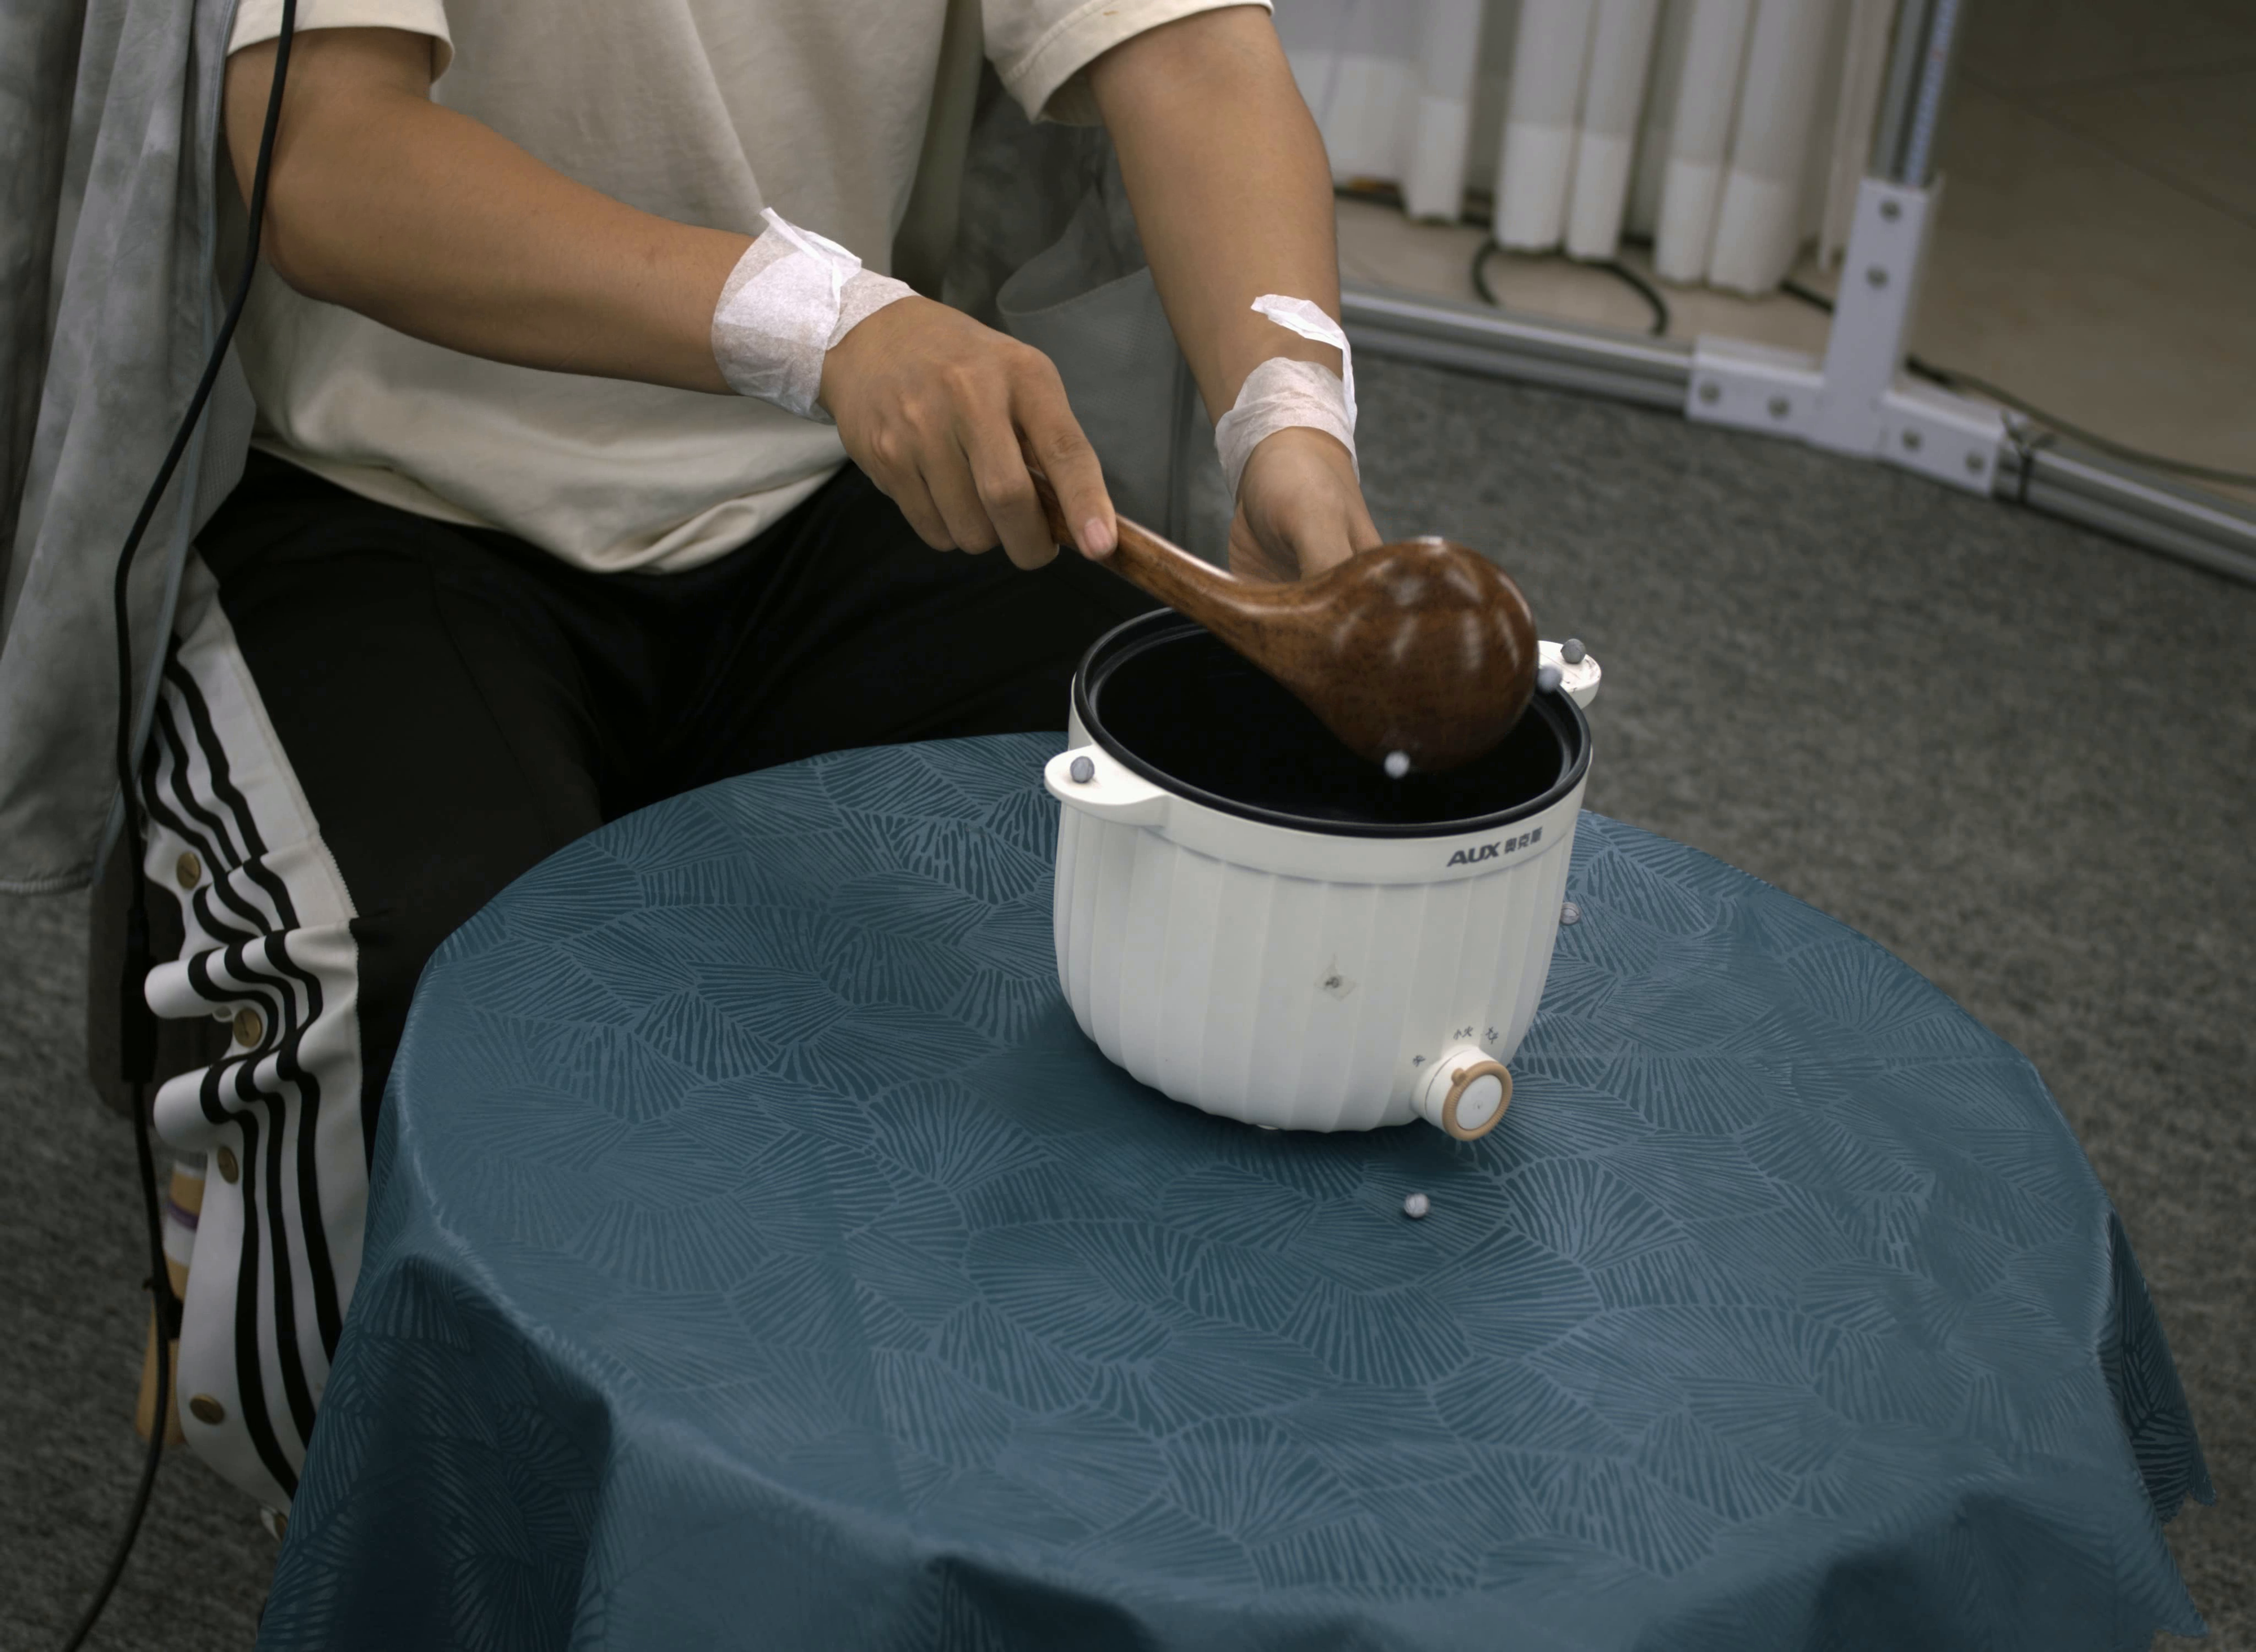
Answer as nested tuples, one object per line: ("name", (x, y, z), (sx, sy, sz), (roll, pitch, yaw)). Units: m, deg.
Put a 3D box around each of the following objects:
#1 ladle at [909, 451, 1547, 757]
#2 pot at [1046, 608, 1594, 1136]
("ladle", (0.034, -0.093, 1.857), (0.076, 0.082, 0.276), (-5, 20, -39))
("pot", (0.068, 0.020, 1.872), (0.239, 0.142, 0.192), (-16, 31, -35))
